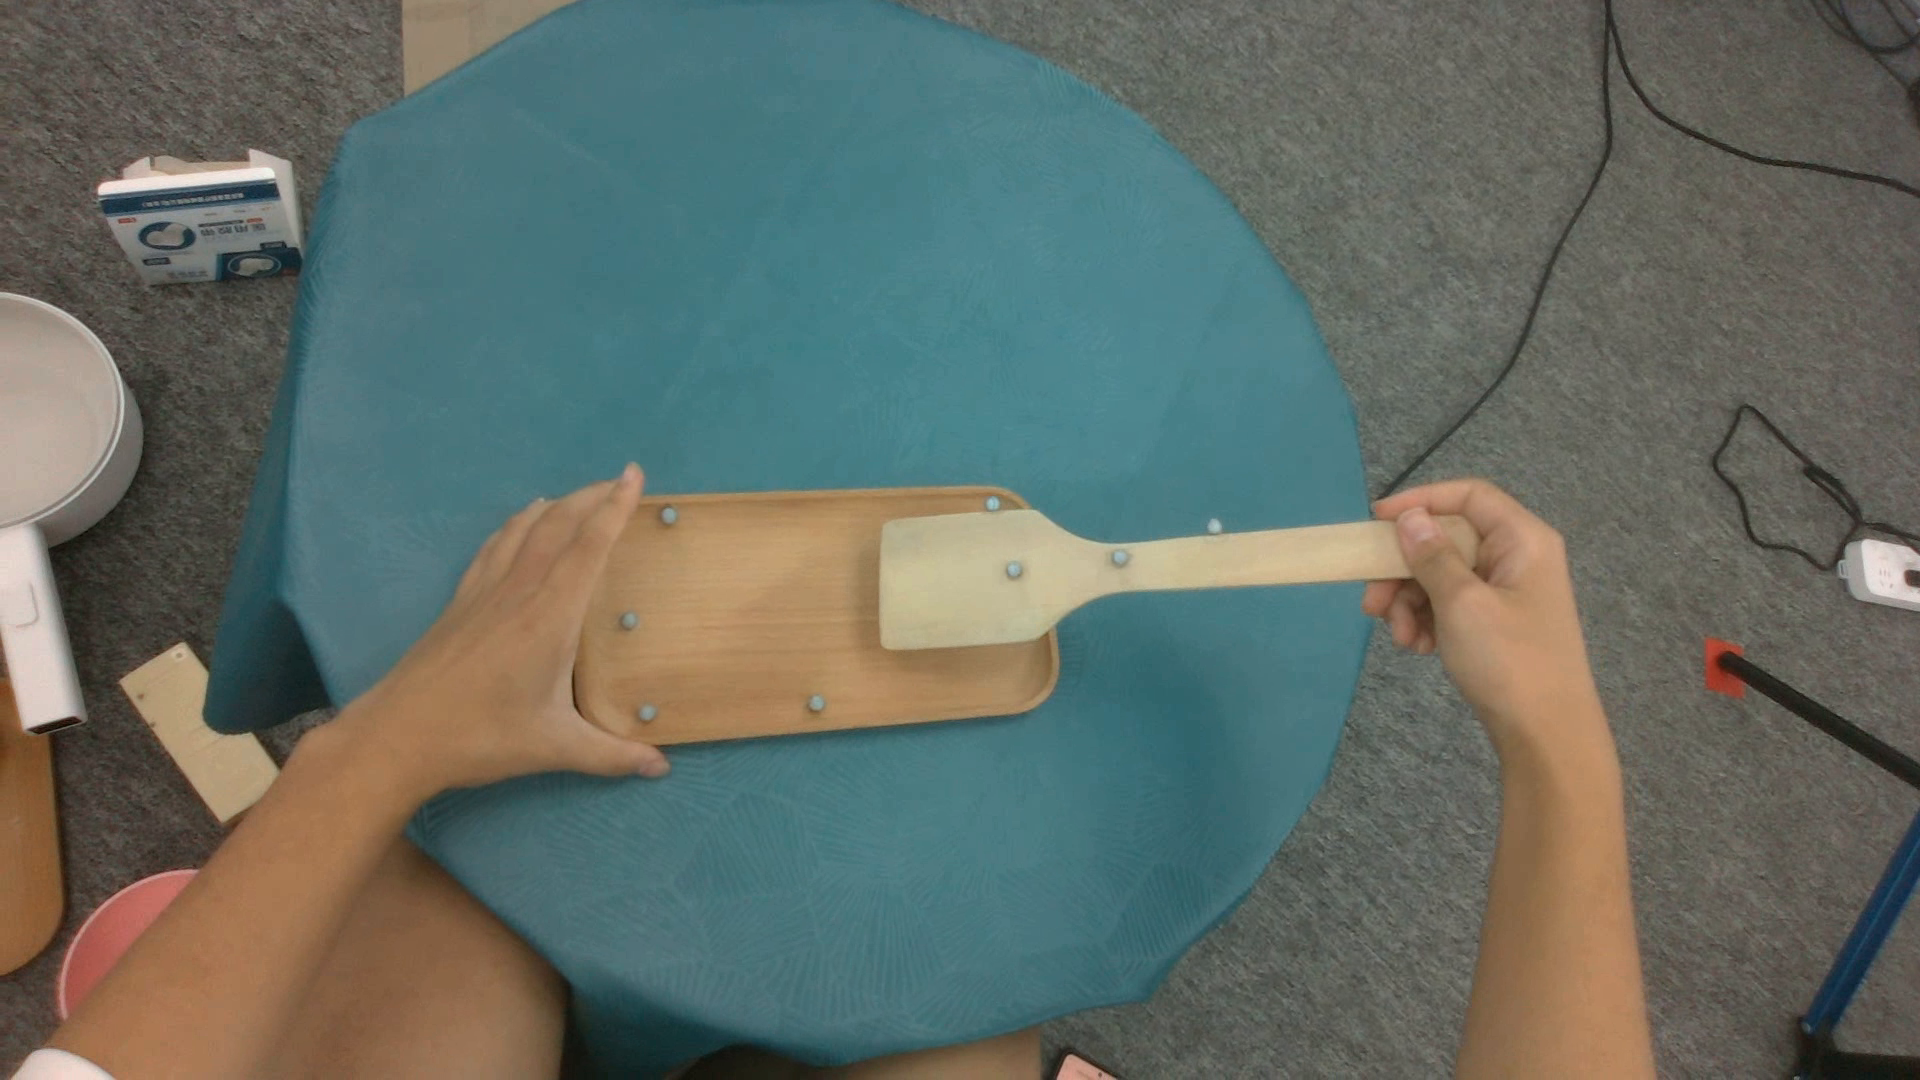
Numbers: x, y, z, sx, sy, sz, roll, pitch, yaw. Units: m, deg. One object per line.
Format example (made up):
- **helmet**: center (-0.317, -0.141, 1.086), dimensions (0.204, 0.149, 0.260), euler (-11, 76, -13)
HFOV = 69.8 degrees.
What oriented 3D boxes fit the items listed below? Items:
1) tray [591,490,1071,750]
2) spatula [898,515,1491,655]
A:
- **tray**: center (-0.065, 0.039, 0.730), dimensions (0.251, 0.023, 0.131), euler (-2, 76, -17)
- **spatula**: center (0.107, 0.013, 0.681), dimensions (0.292, 0.010, 0.072), euler (-6, 74, 18)
